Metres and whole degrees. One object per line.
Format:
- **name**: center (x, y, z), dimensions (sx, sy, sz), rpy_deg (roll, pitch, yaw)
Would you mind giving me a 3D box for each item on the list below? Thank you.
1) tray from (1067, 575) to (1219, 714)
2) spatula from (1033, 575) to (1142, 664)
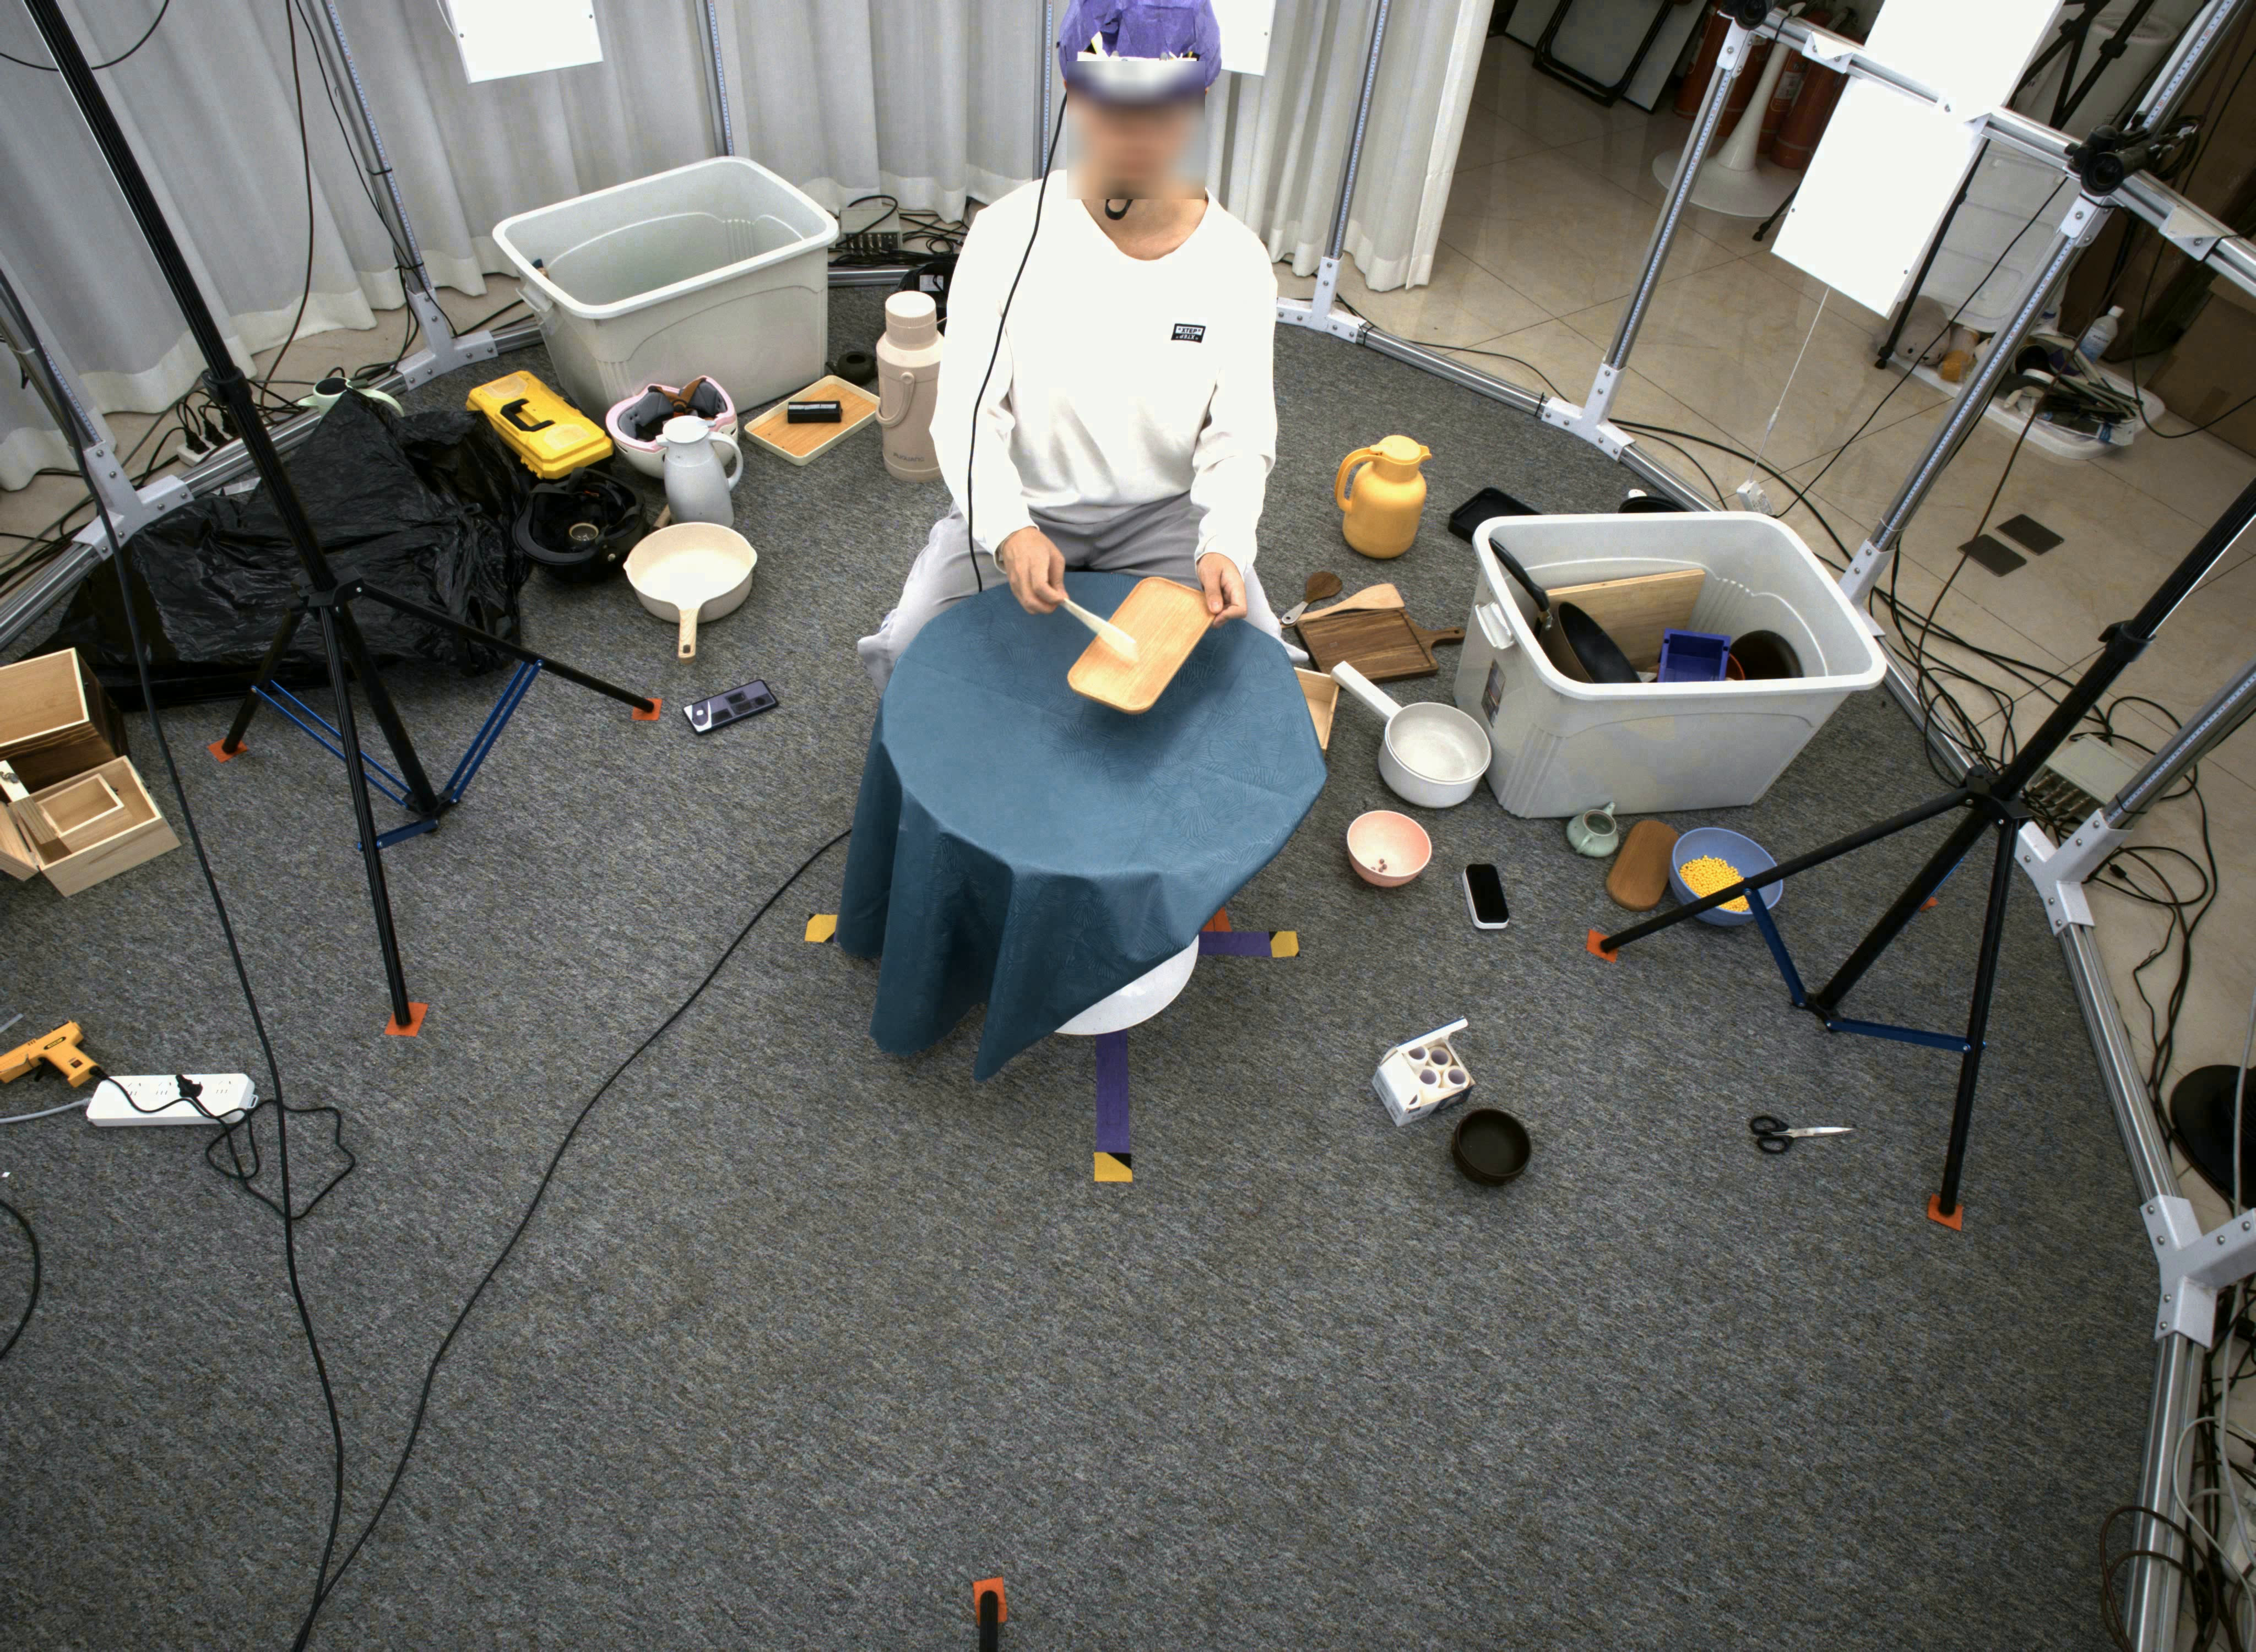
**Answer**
- **tray**: center (0.023, -0.253, 1.773), dimensions (0.131, 0.022, 0.255), rpy_deg (24, 55, 16)
- **spatula**: center (-0.058, -0.288, 1.761), dimensions (0.005, 0.049, 0.211), rpy_deg (-42, 62, -19)
